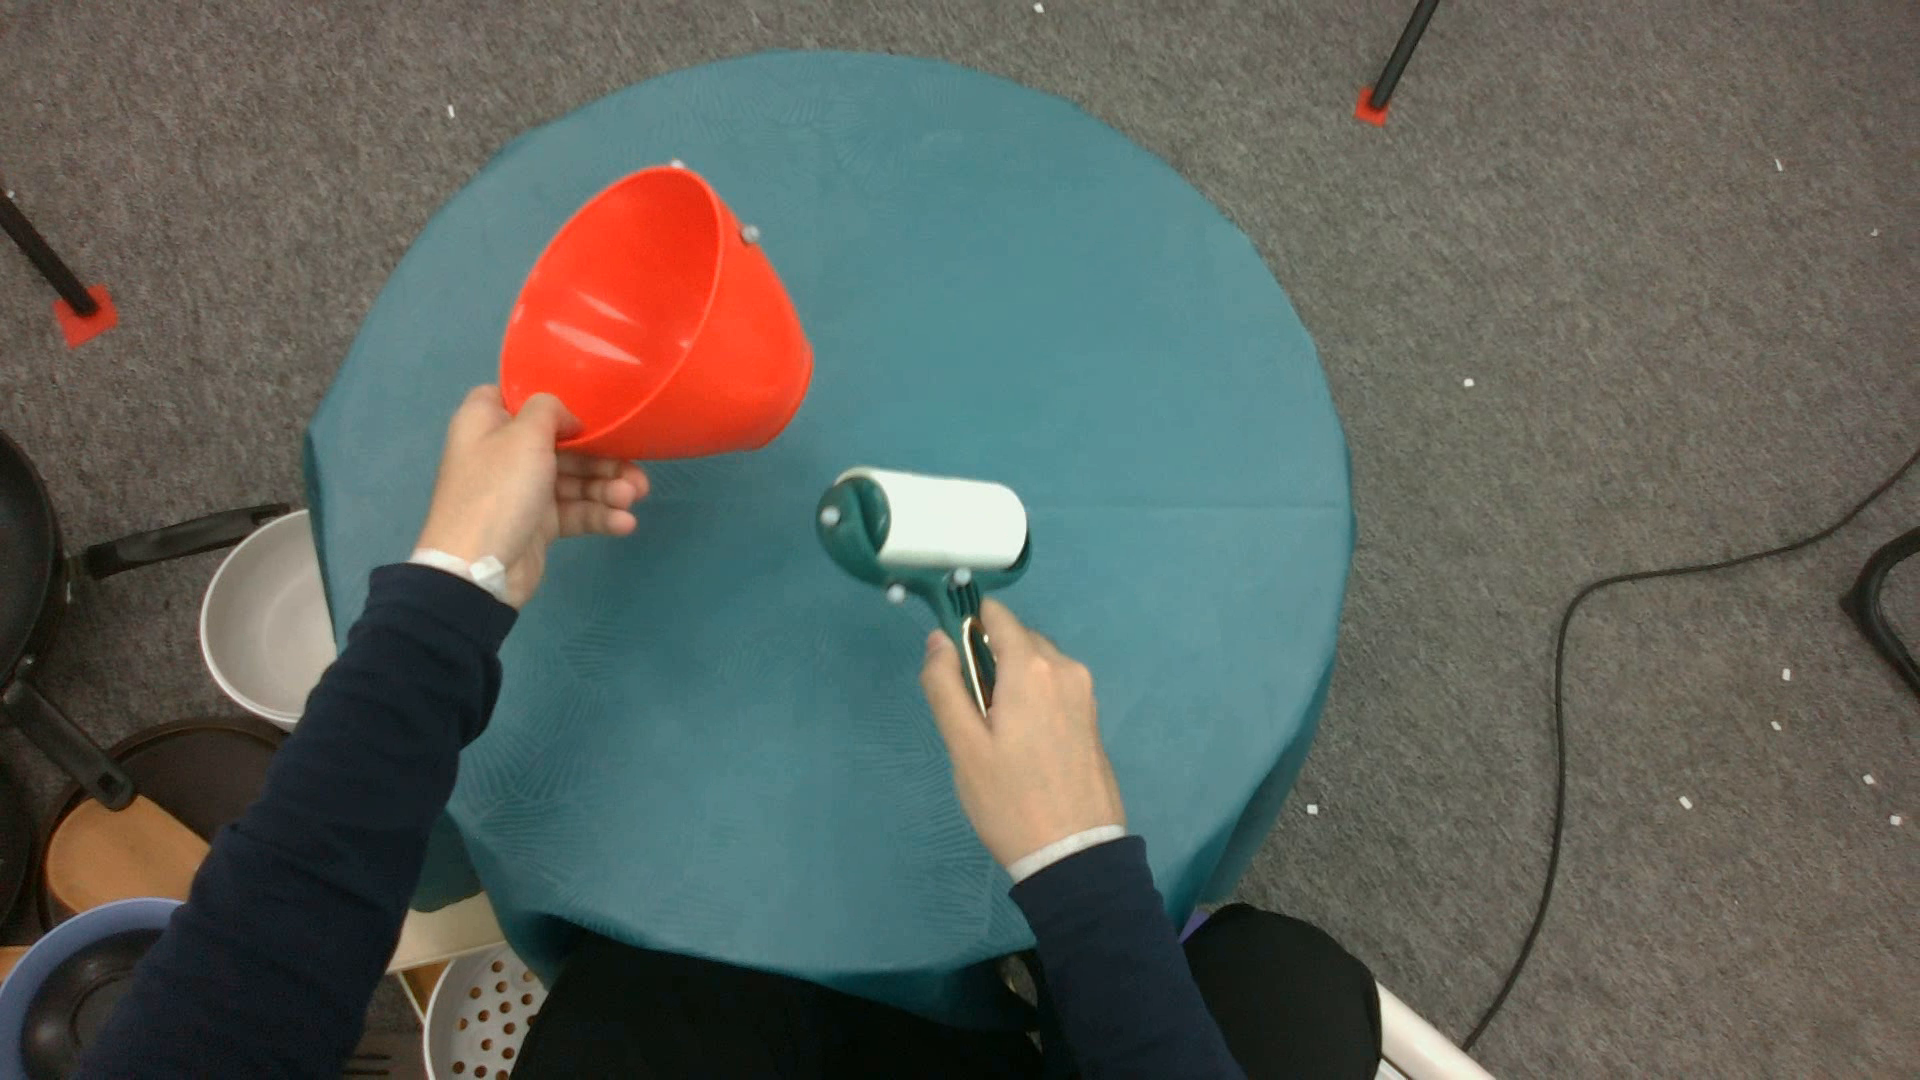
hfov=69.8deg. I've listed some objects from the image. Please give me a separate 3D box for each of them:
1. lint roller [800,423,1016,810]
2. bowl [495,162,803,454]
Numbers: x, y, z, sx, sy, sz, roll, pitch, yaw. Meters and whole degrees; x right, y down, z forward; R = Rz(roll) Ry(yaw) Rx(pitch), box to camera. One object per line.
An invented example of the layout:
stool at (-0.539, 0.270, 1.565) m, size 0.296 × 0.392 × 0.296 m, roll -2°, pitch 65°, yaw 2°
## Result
lint roller at (0.000, 0.031, 0.632) m, size 0.134 × 0.048 × 0.180 m, roll 1°, pitch 64°, yaw -53°
bowl at (-0.143, -0.099, 0.676) m, size 0.104 × 0.147 × 0.148 m, roll 29°, pitch 58°, yaw -39°
